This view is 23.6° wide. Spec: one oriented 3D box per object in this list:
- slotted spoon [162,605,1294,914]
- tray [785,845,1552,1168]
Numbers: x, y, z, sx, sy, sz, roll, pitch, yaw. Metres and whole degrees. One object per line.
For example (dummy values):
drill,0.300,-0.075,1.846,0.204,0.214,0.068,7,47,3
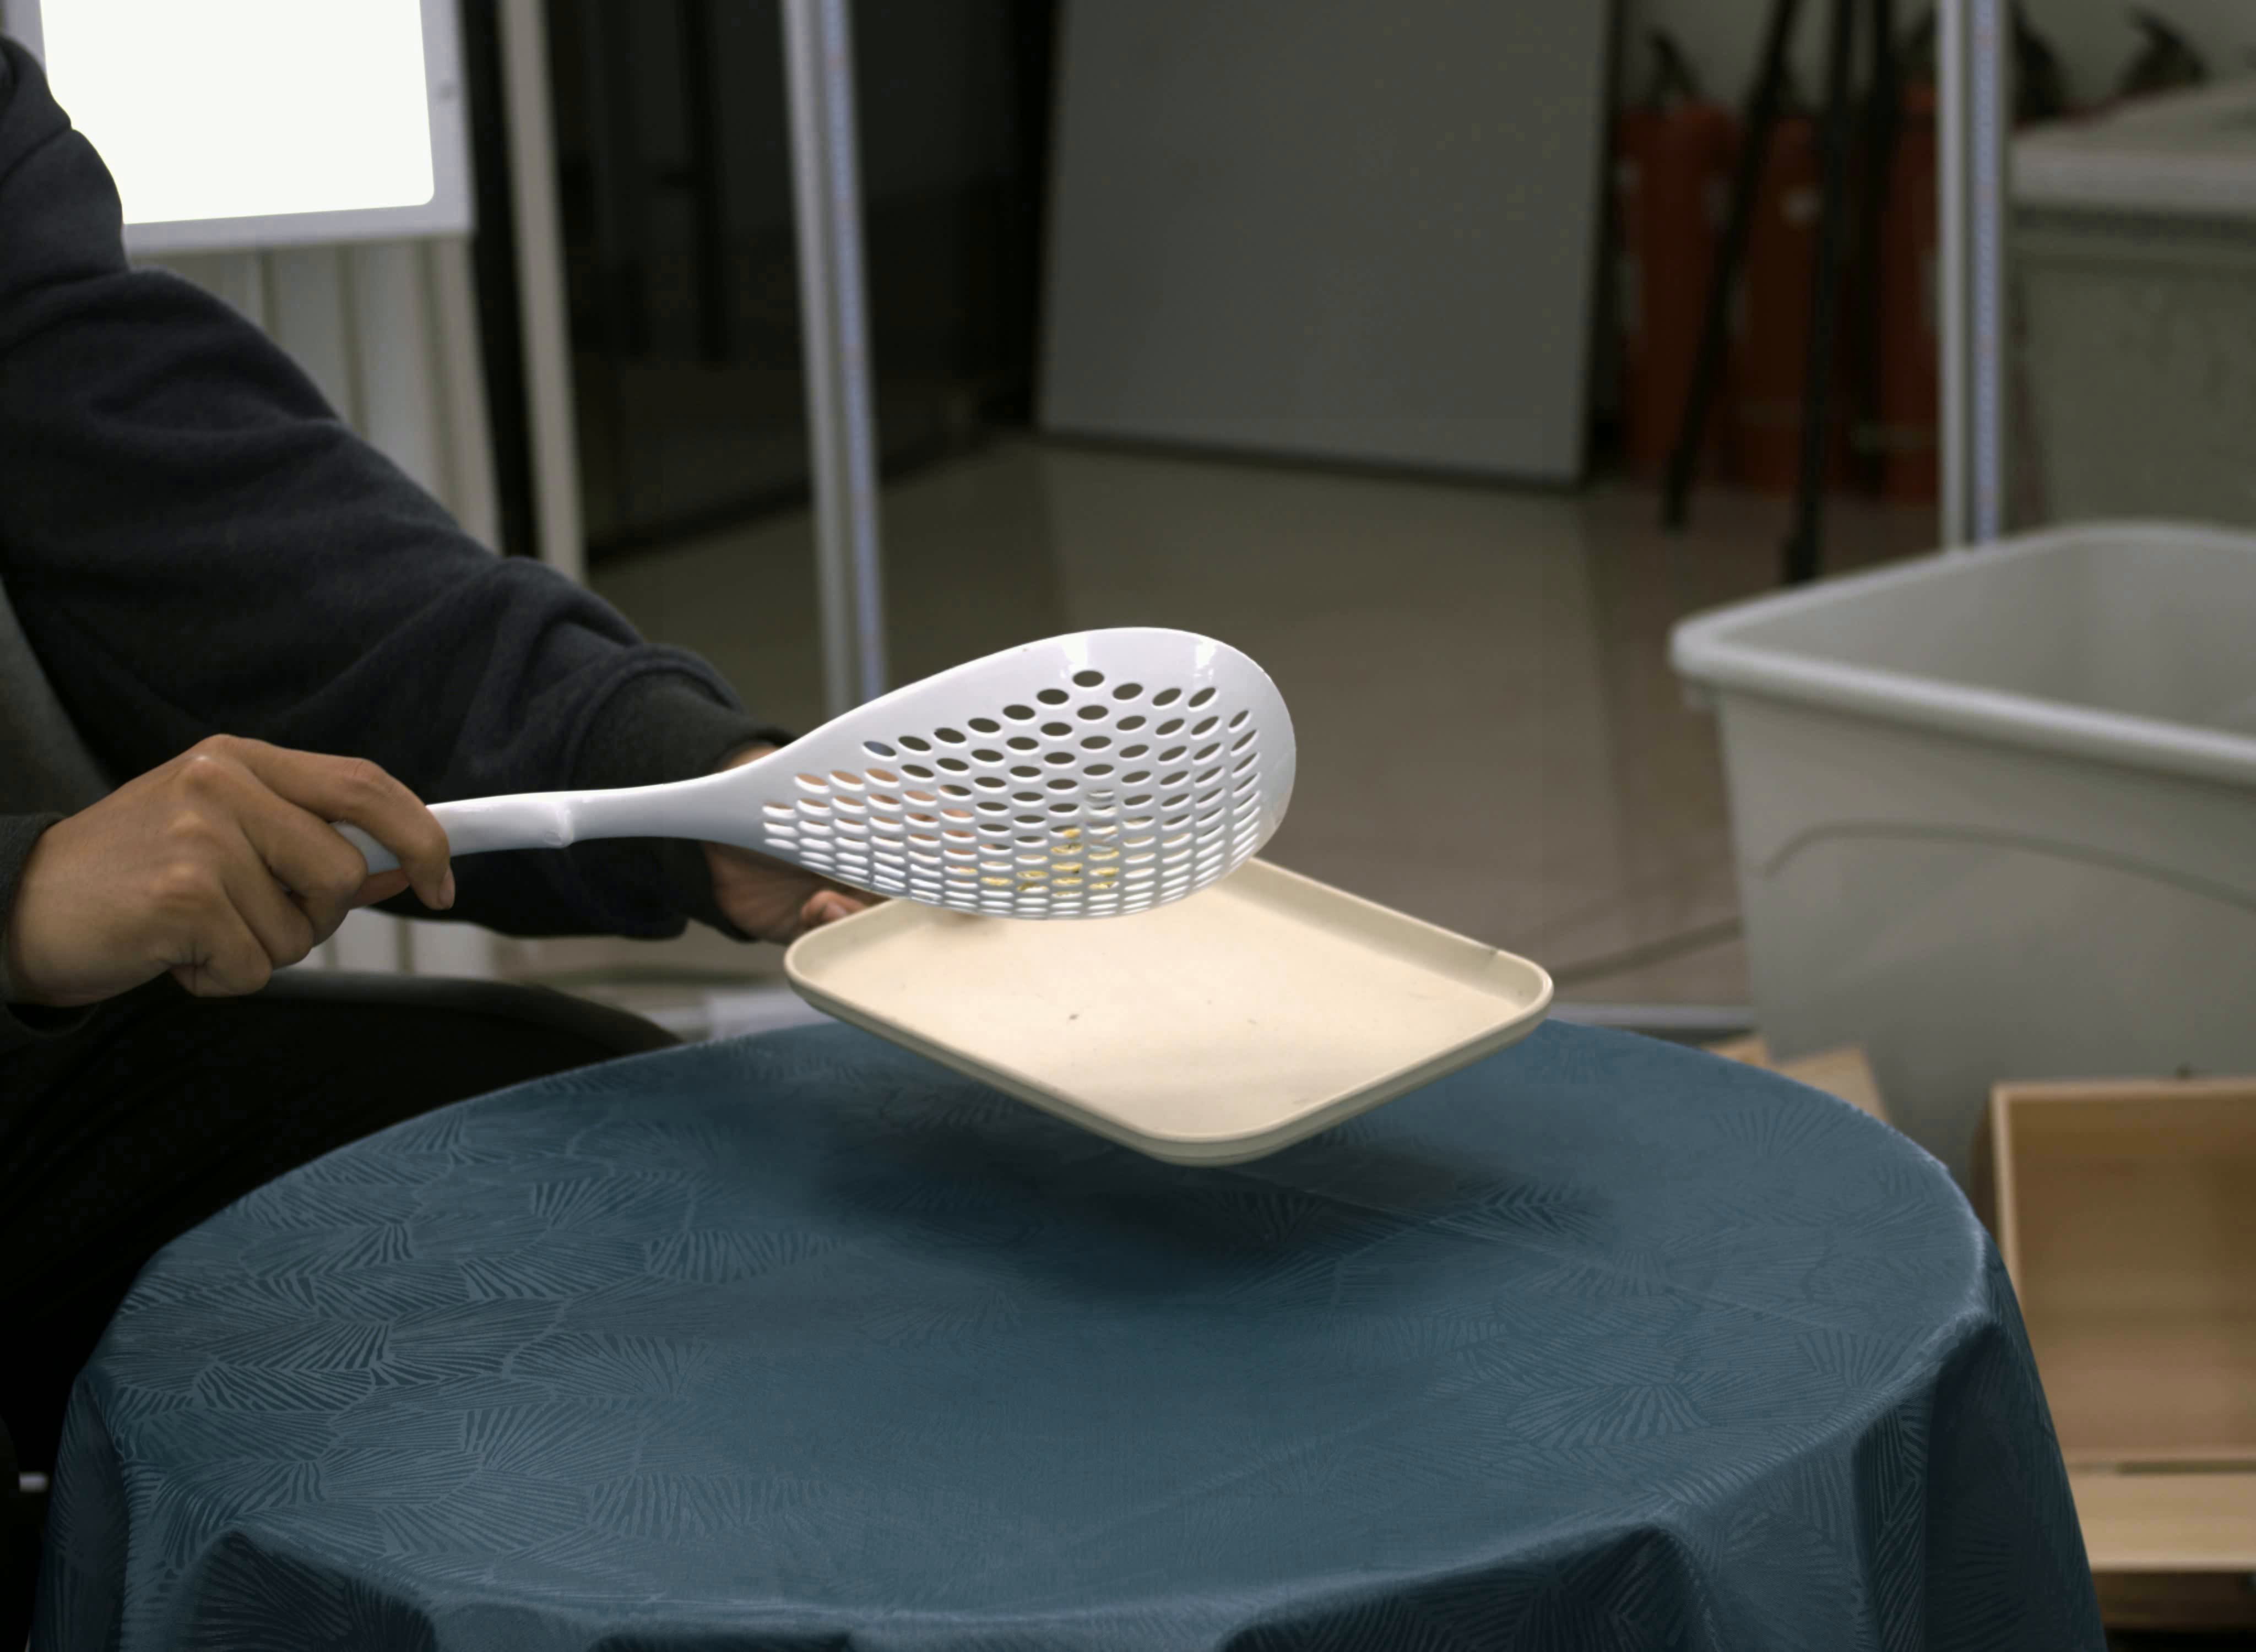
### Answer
slotted spoon,-0.119,-0.002,1.648,0.343,0.137,0.051,-2,51,-1
tray,0.012,0.055,1.784,0.168,0.017,0.242,-22,27,-34
